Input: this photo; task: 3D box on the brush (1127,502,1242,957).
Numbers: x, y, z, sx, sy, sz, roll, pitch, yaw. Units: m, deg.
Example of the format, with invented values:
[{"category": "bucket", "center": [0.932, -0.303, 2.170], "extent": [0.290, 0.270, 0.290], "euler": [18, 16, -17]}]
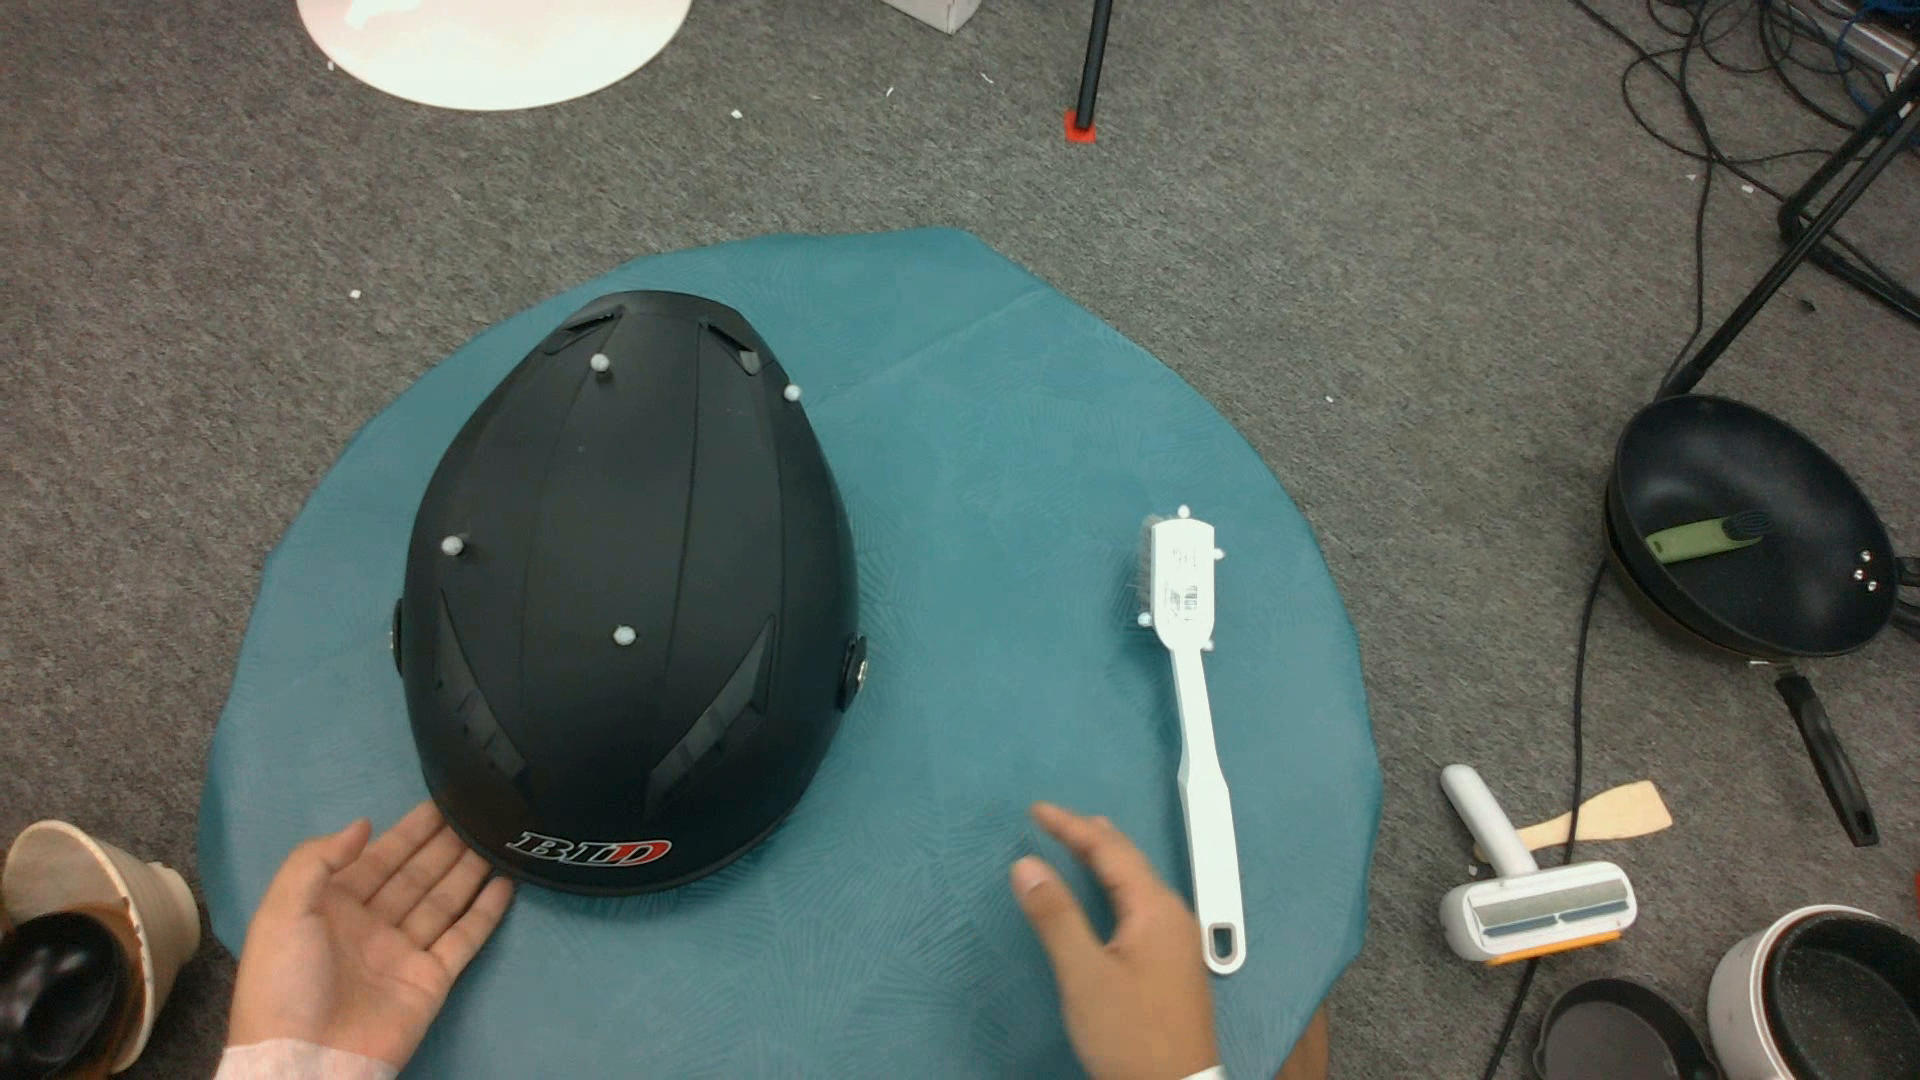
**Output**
[{"category": "brush", "center": [0.118, 0.094, 0.731], "extent": [0.034, 0.050, 0.244], "euler": [-1, 74, -9]}]

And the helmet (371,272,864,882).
[{"category": "helmet", "center": [-0.165, 0.009, 0.663], "extent": [0.247, 0.171, 0.278], "euler": [6, 56, -4]}]
